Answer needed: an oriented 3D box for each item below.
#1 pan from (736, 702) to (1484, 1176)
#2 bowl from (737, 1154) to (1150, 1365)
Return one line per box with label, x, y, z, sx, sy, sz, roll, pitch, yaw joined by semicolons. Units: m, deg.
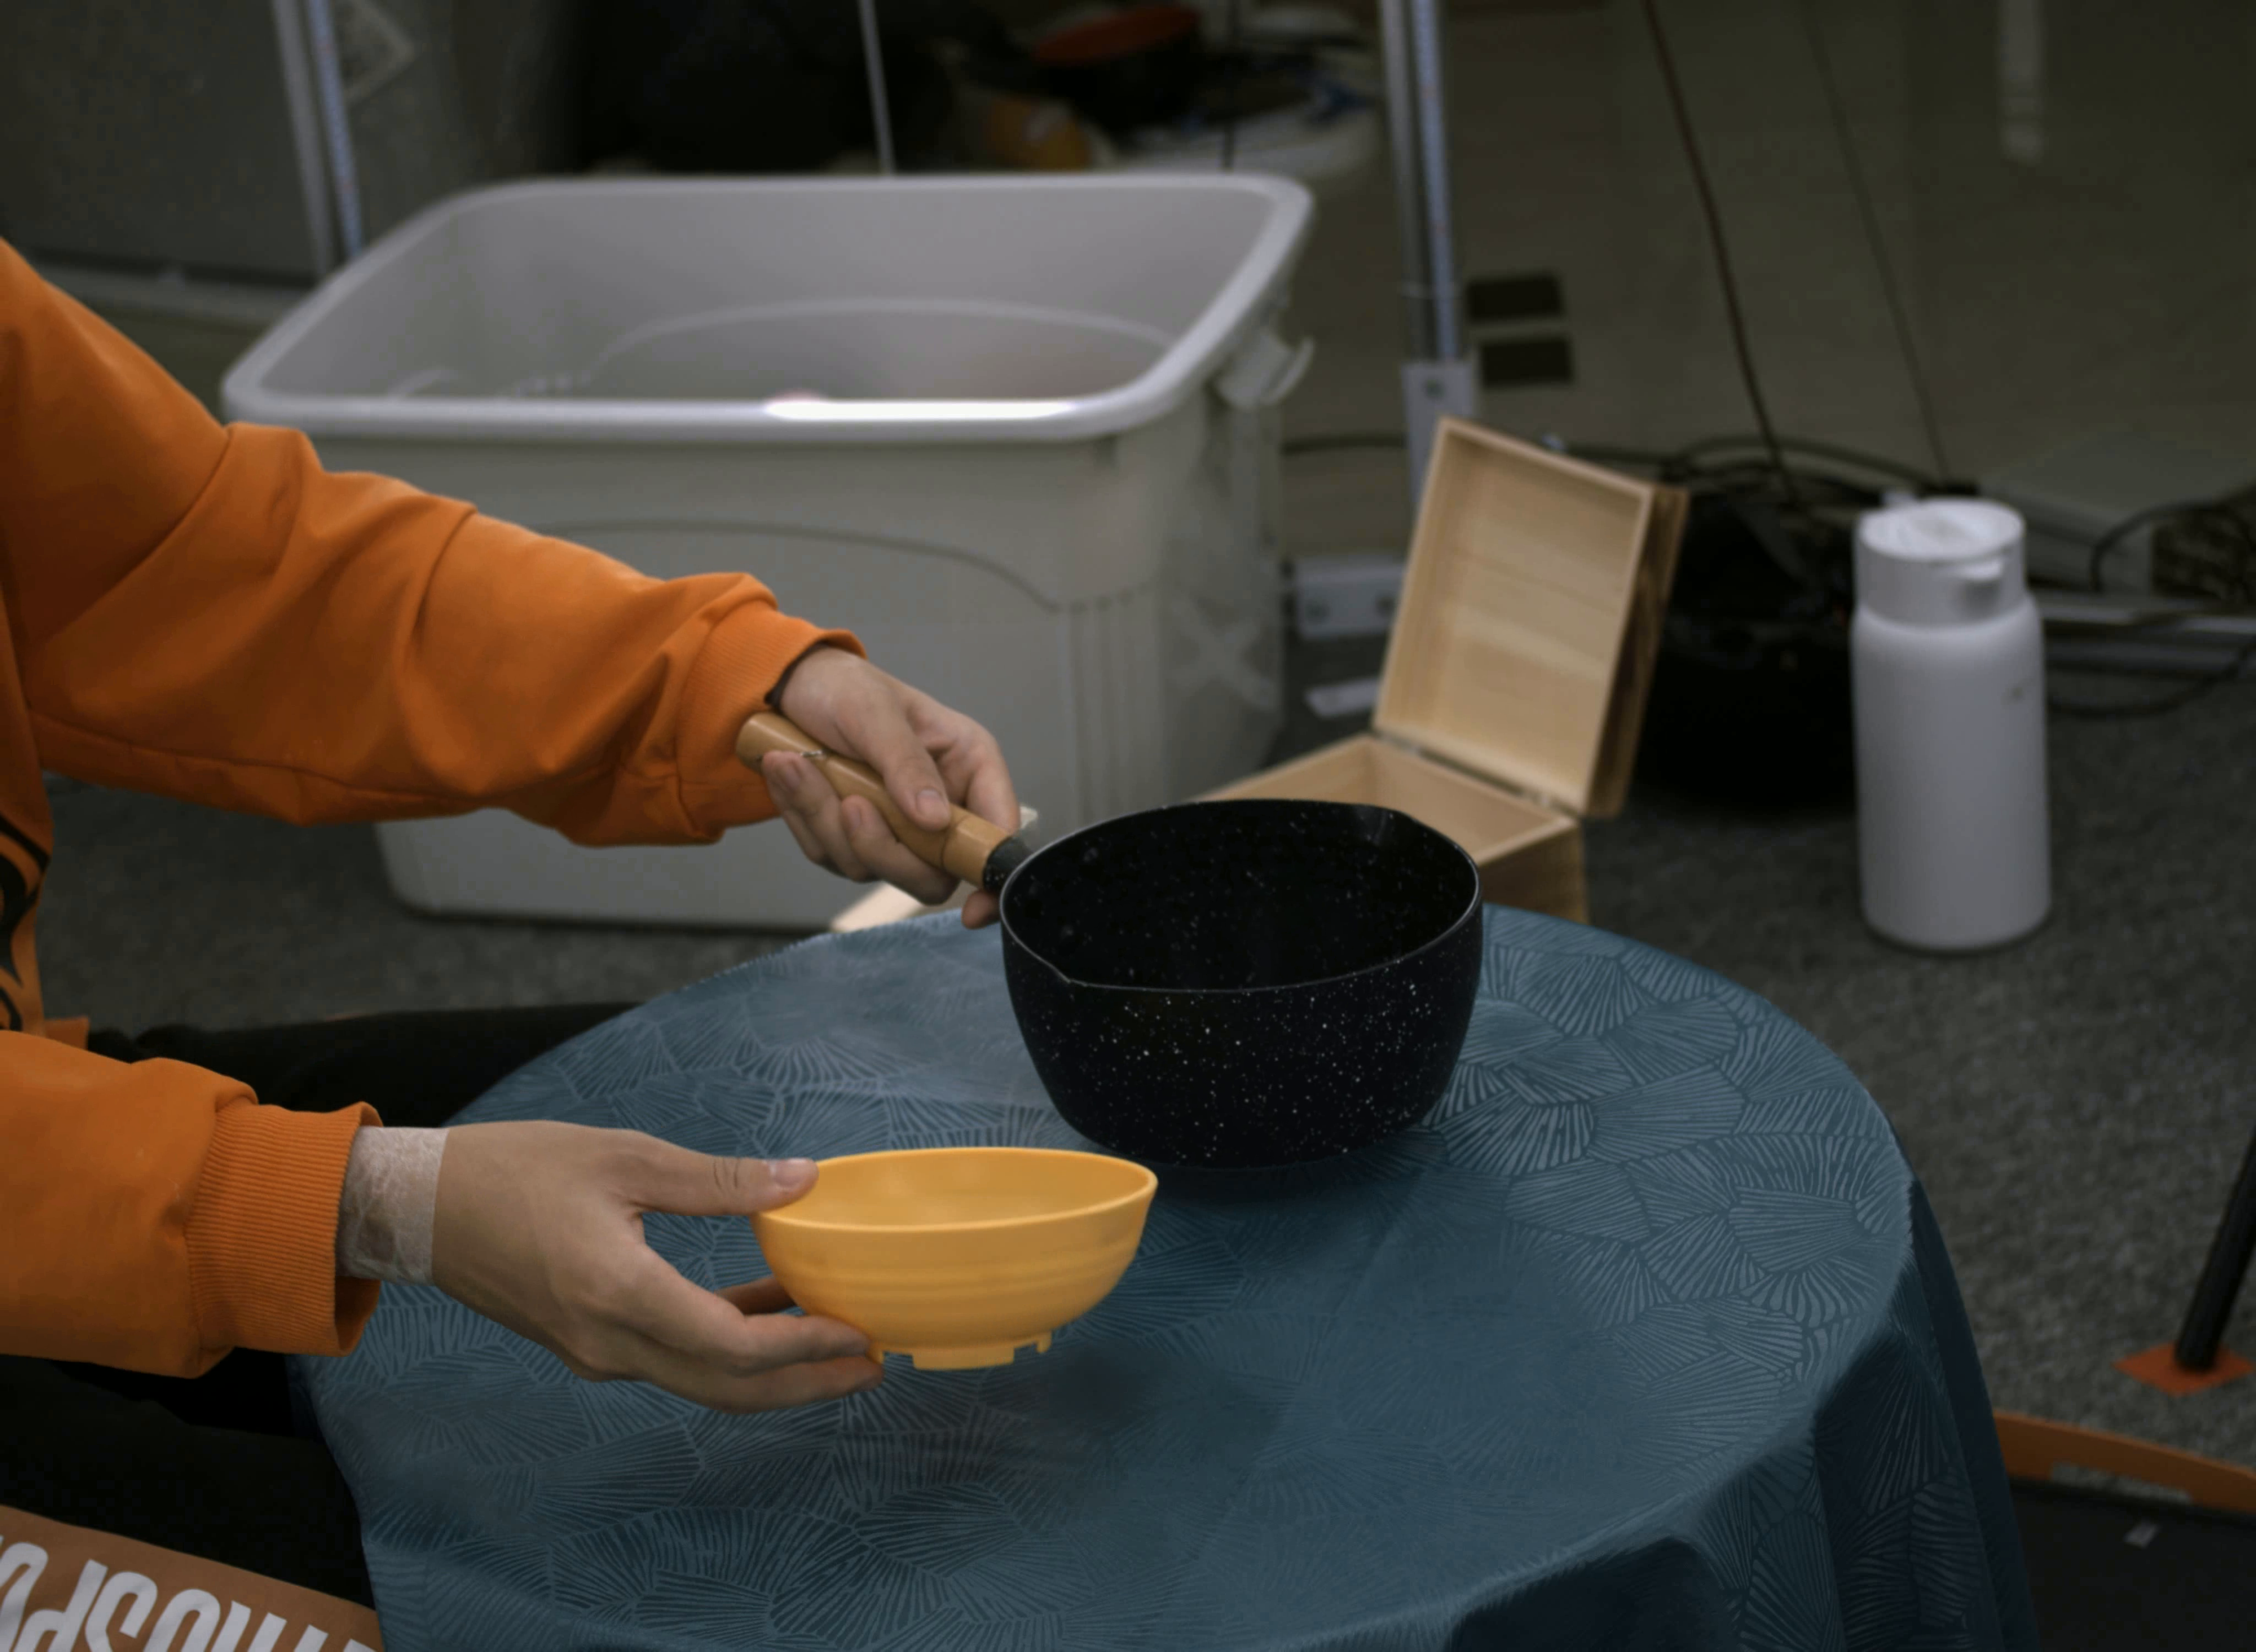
pan;-0.019;0.036;2.203;0.340;0.110;0.205;15;30;34
bowl;-0.064;0.153;1.980;0.145;0.060;0.144;-2;6;0
